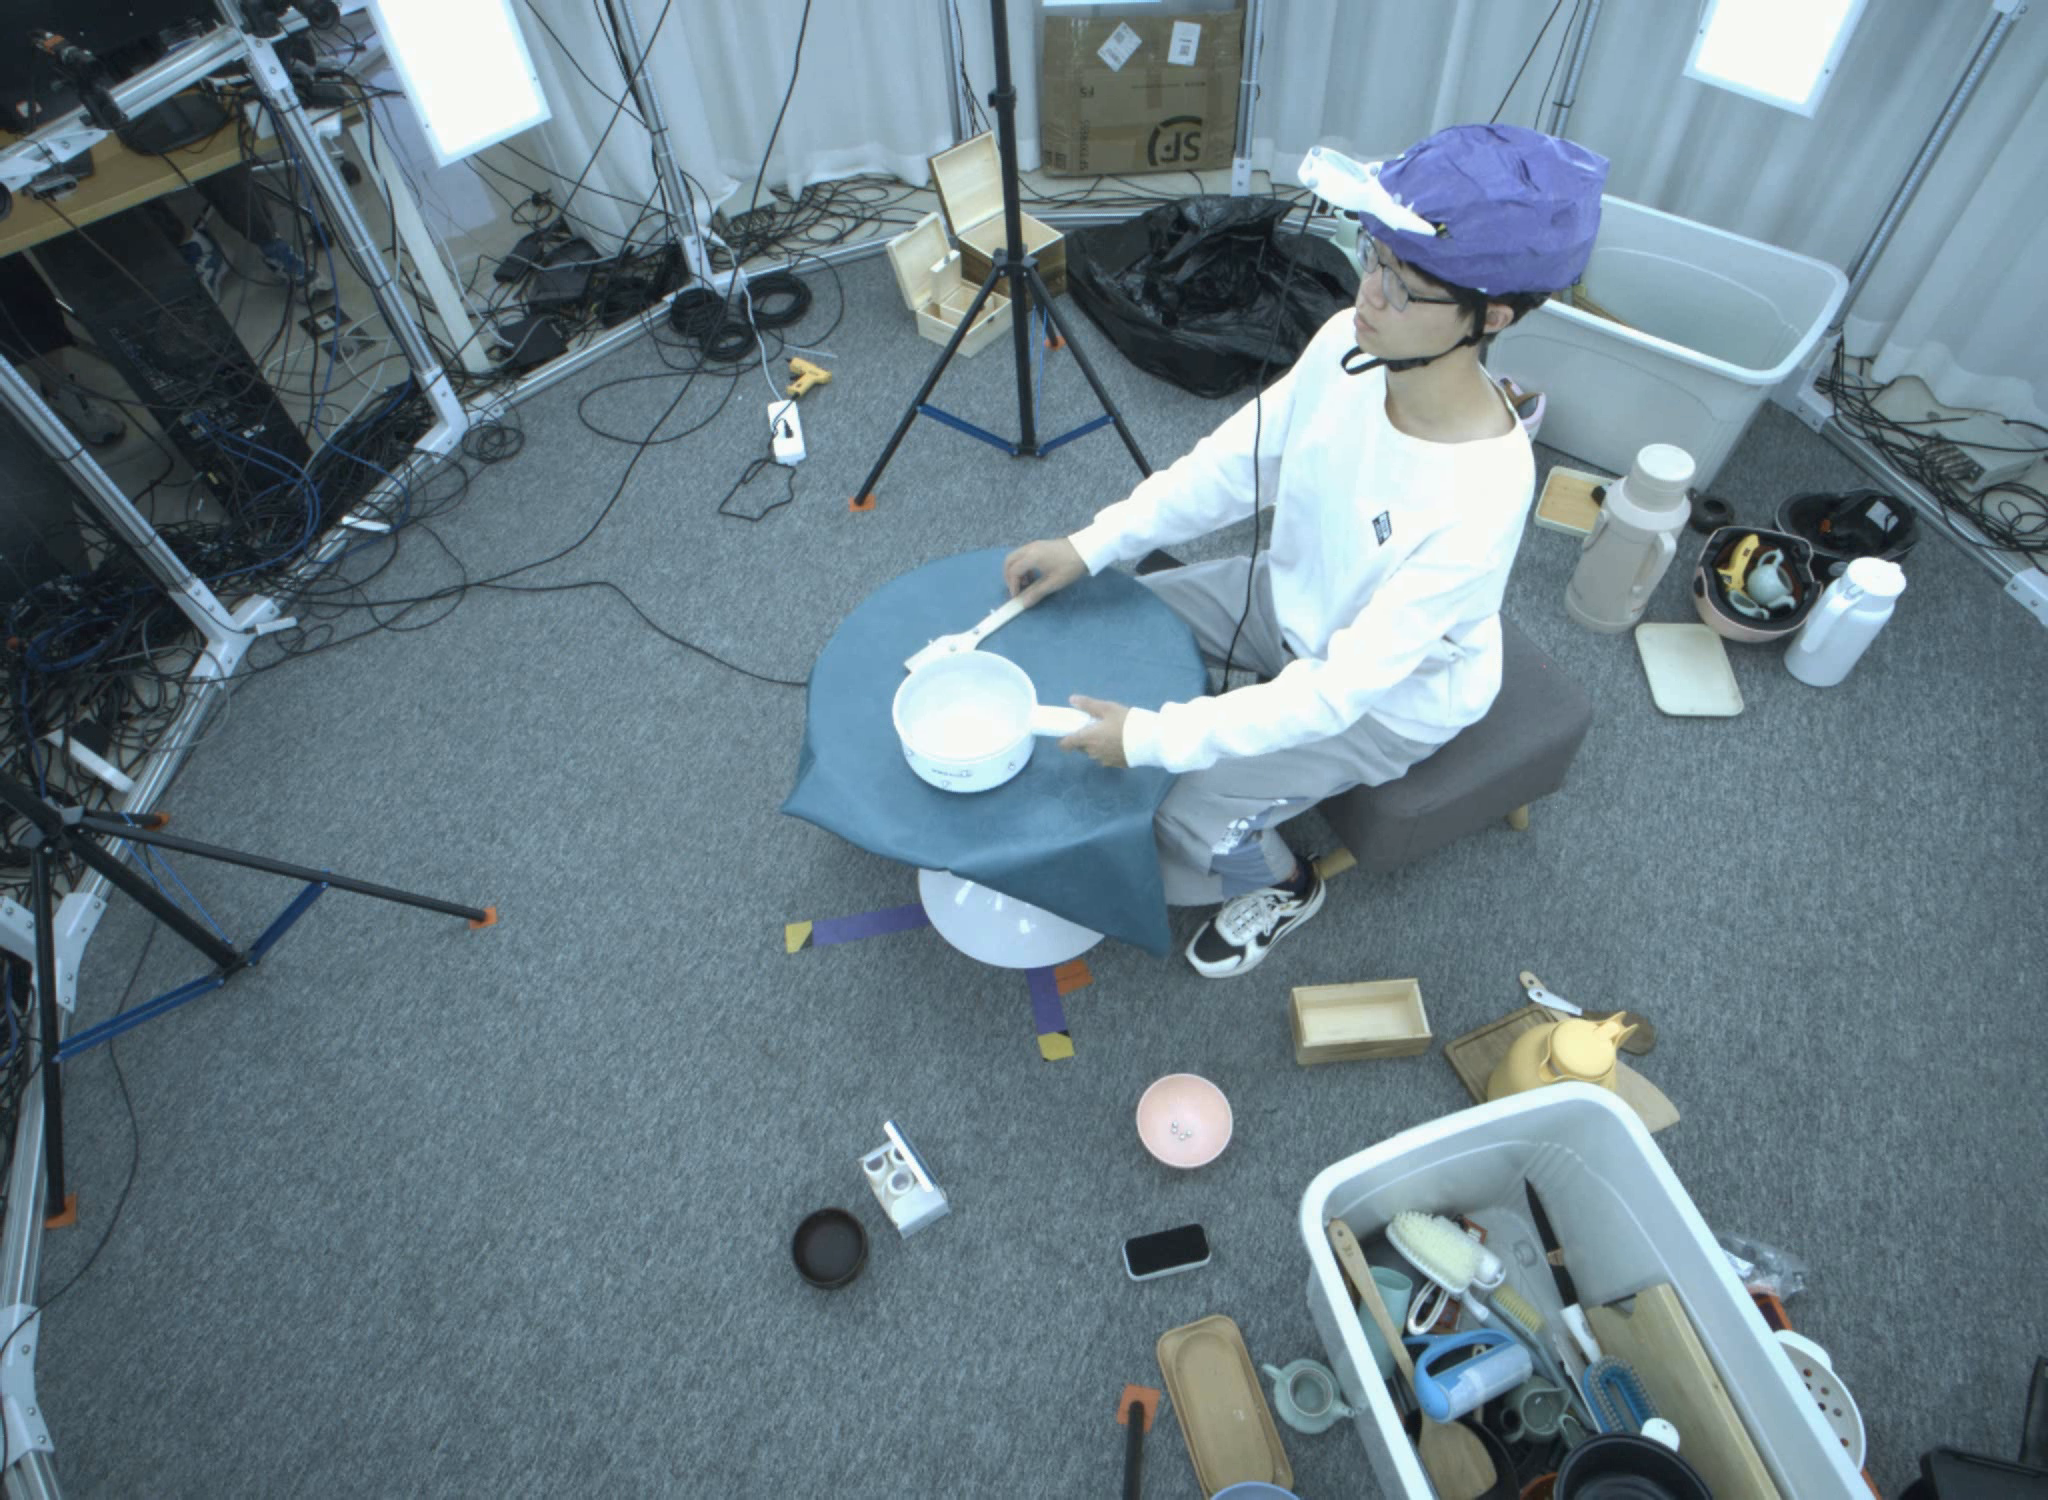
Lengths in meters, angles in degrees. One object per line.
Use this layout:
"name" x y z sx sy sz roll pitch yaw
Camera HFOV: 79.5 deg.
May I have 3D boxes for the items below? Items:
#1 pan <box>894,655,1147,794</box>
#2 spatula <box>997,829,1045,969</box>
"pan" -0.005 -0.022 1.750 0.354 0.103 0.200 8 51 4
"spatula" 0.005 0.272 2.269 0.072 0.011 0.289 -7 55 -5
